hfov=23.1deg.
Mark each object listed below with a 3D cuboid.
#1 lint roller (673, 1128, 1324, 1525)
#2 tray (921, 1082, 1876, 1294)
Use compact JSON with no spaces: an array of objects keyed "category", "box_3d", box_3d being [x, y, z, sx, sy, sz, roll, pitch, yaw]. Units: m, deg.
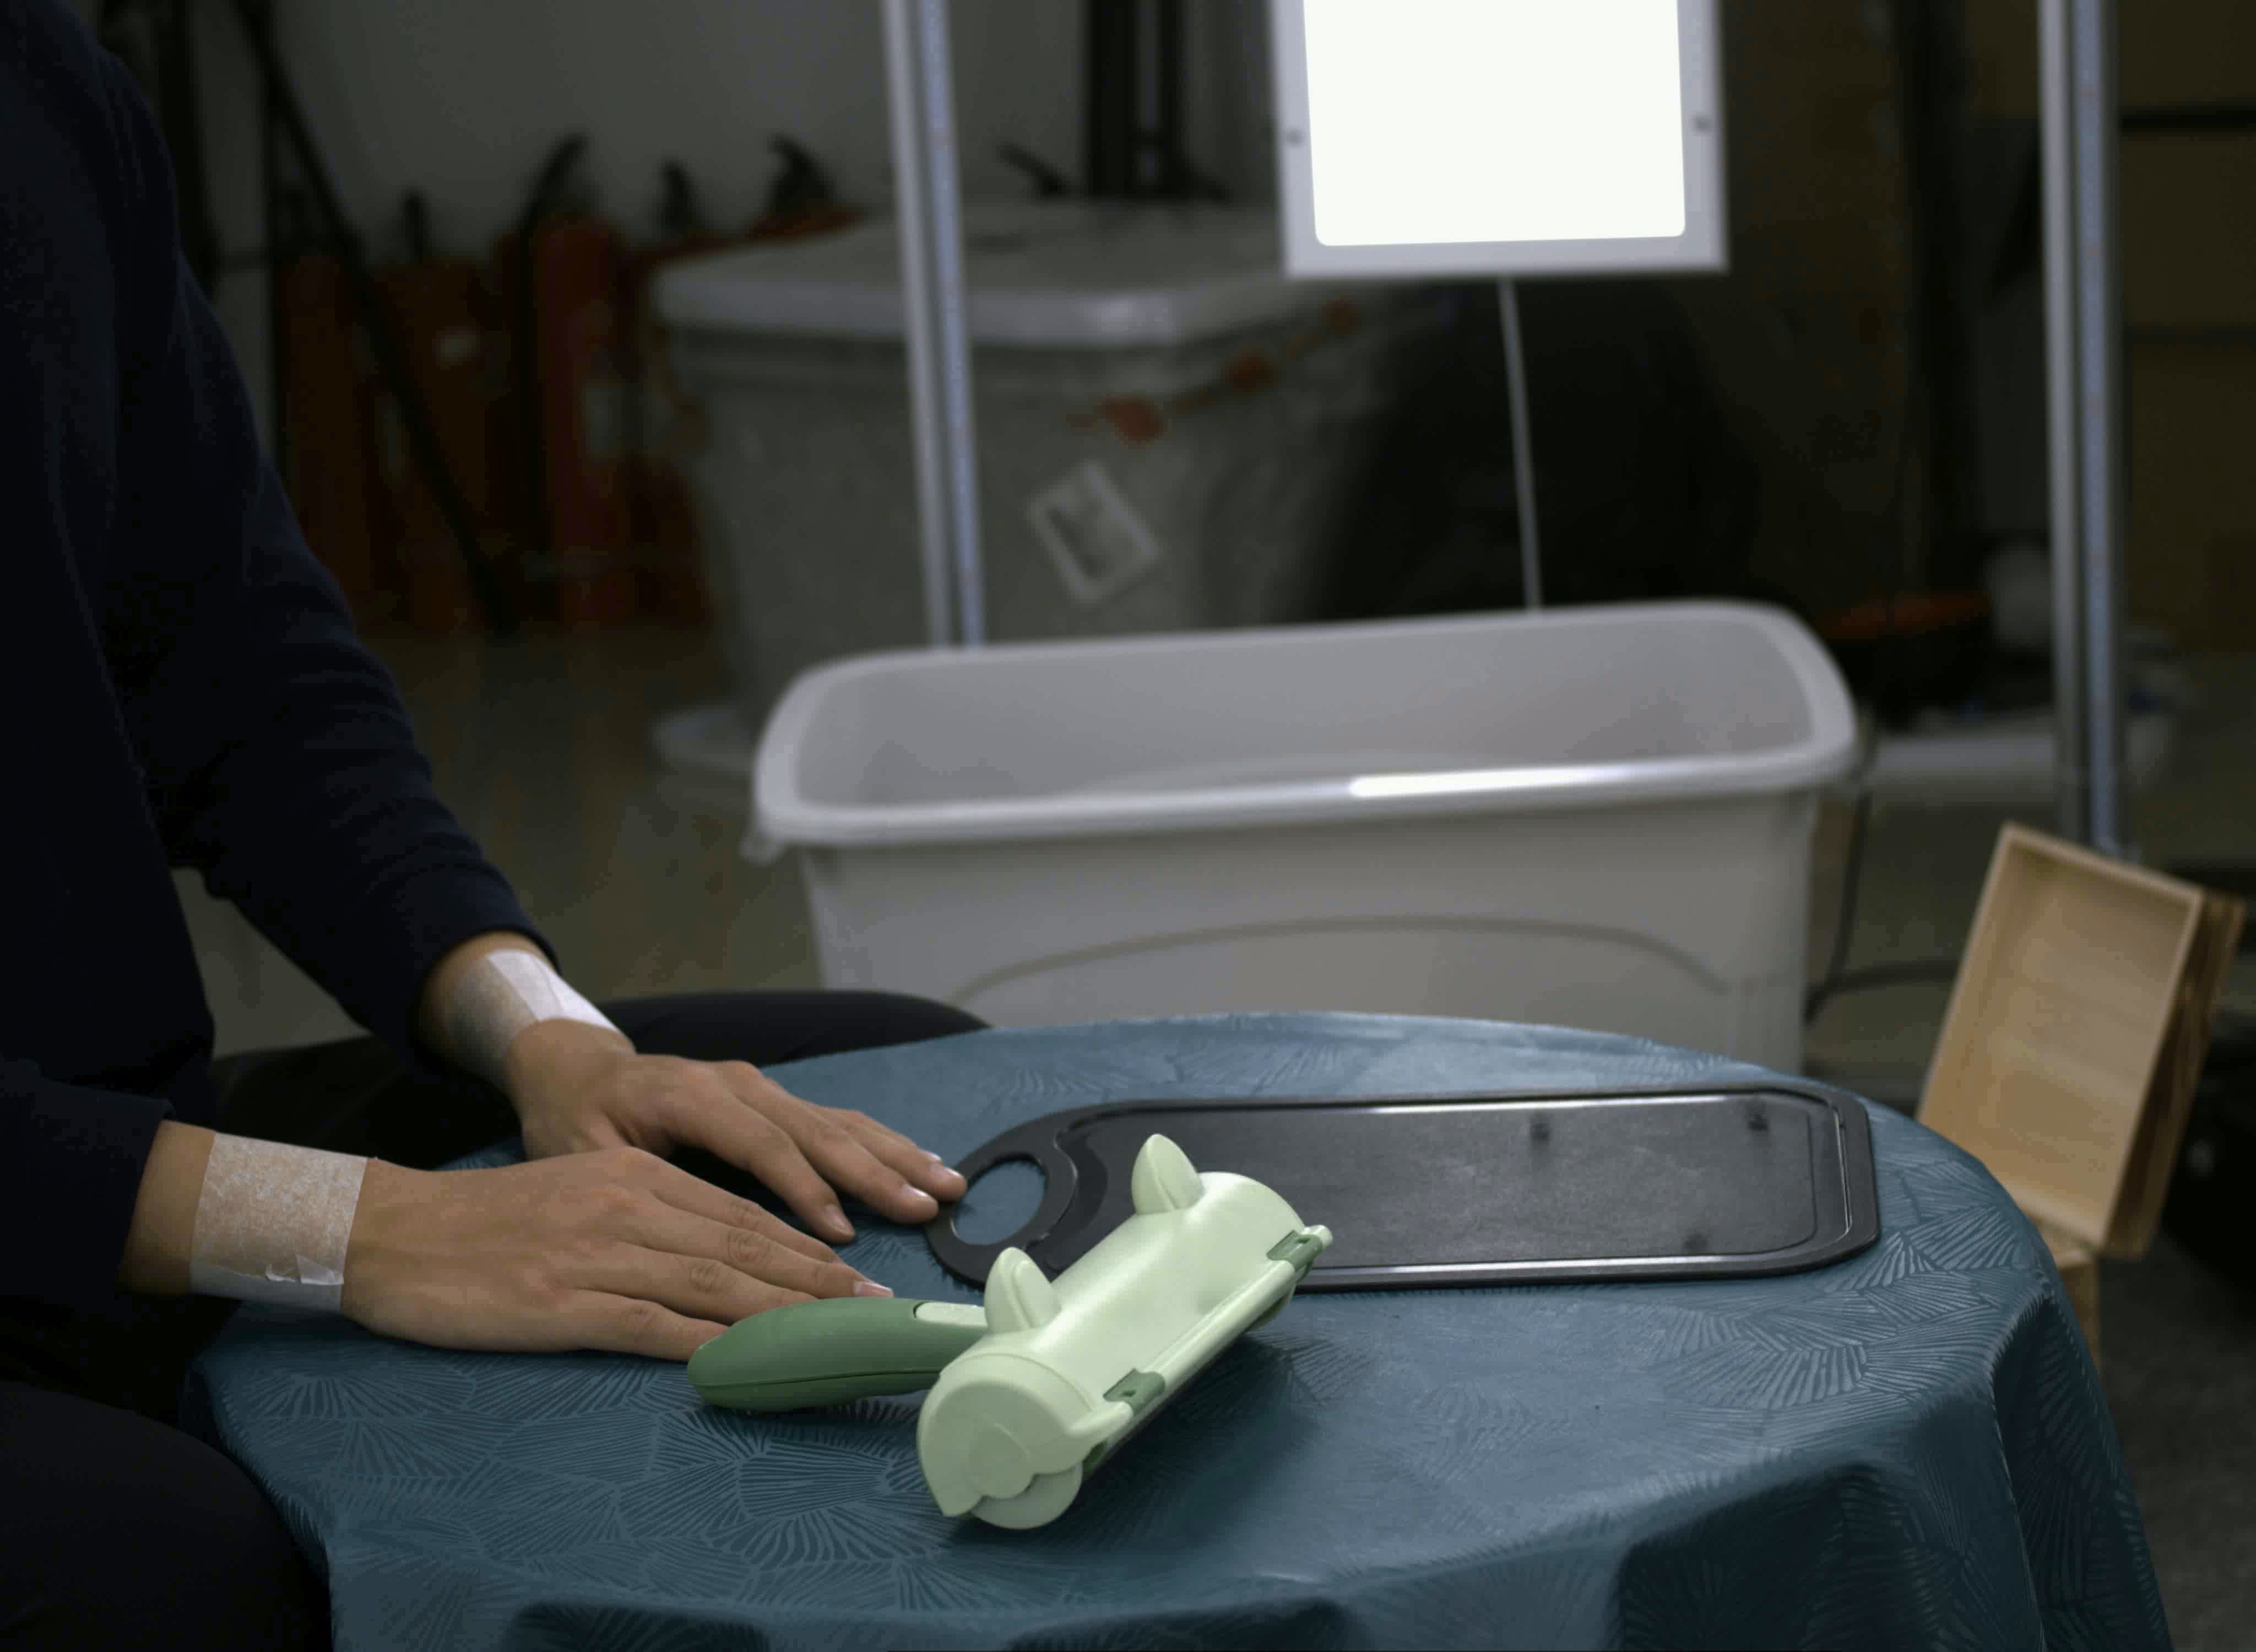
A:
[{"category":"lint roller","box_3d":[-0.055,0.141,1.679,0.186,0.082,0.195,8,16,21]},{"category":"tray","box_3d":[0.091,0.121,1.870,0.327,0.010,0.209,-3,14,9]}]
